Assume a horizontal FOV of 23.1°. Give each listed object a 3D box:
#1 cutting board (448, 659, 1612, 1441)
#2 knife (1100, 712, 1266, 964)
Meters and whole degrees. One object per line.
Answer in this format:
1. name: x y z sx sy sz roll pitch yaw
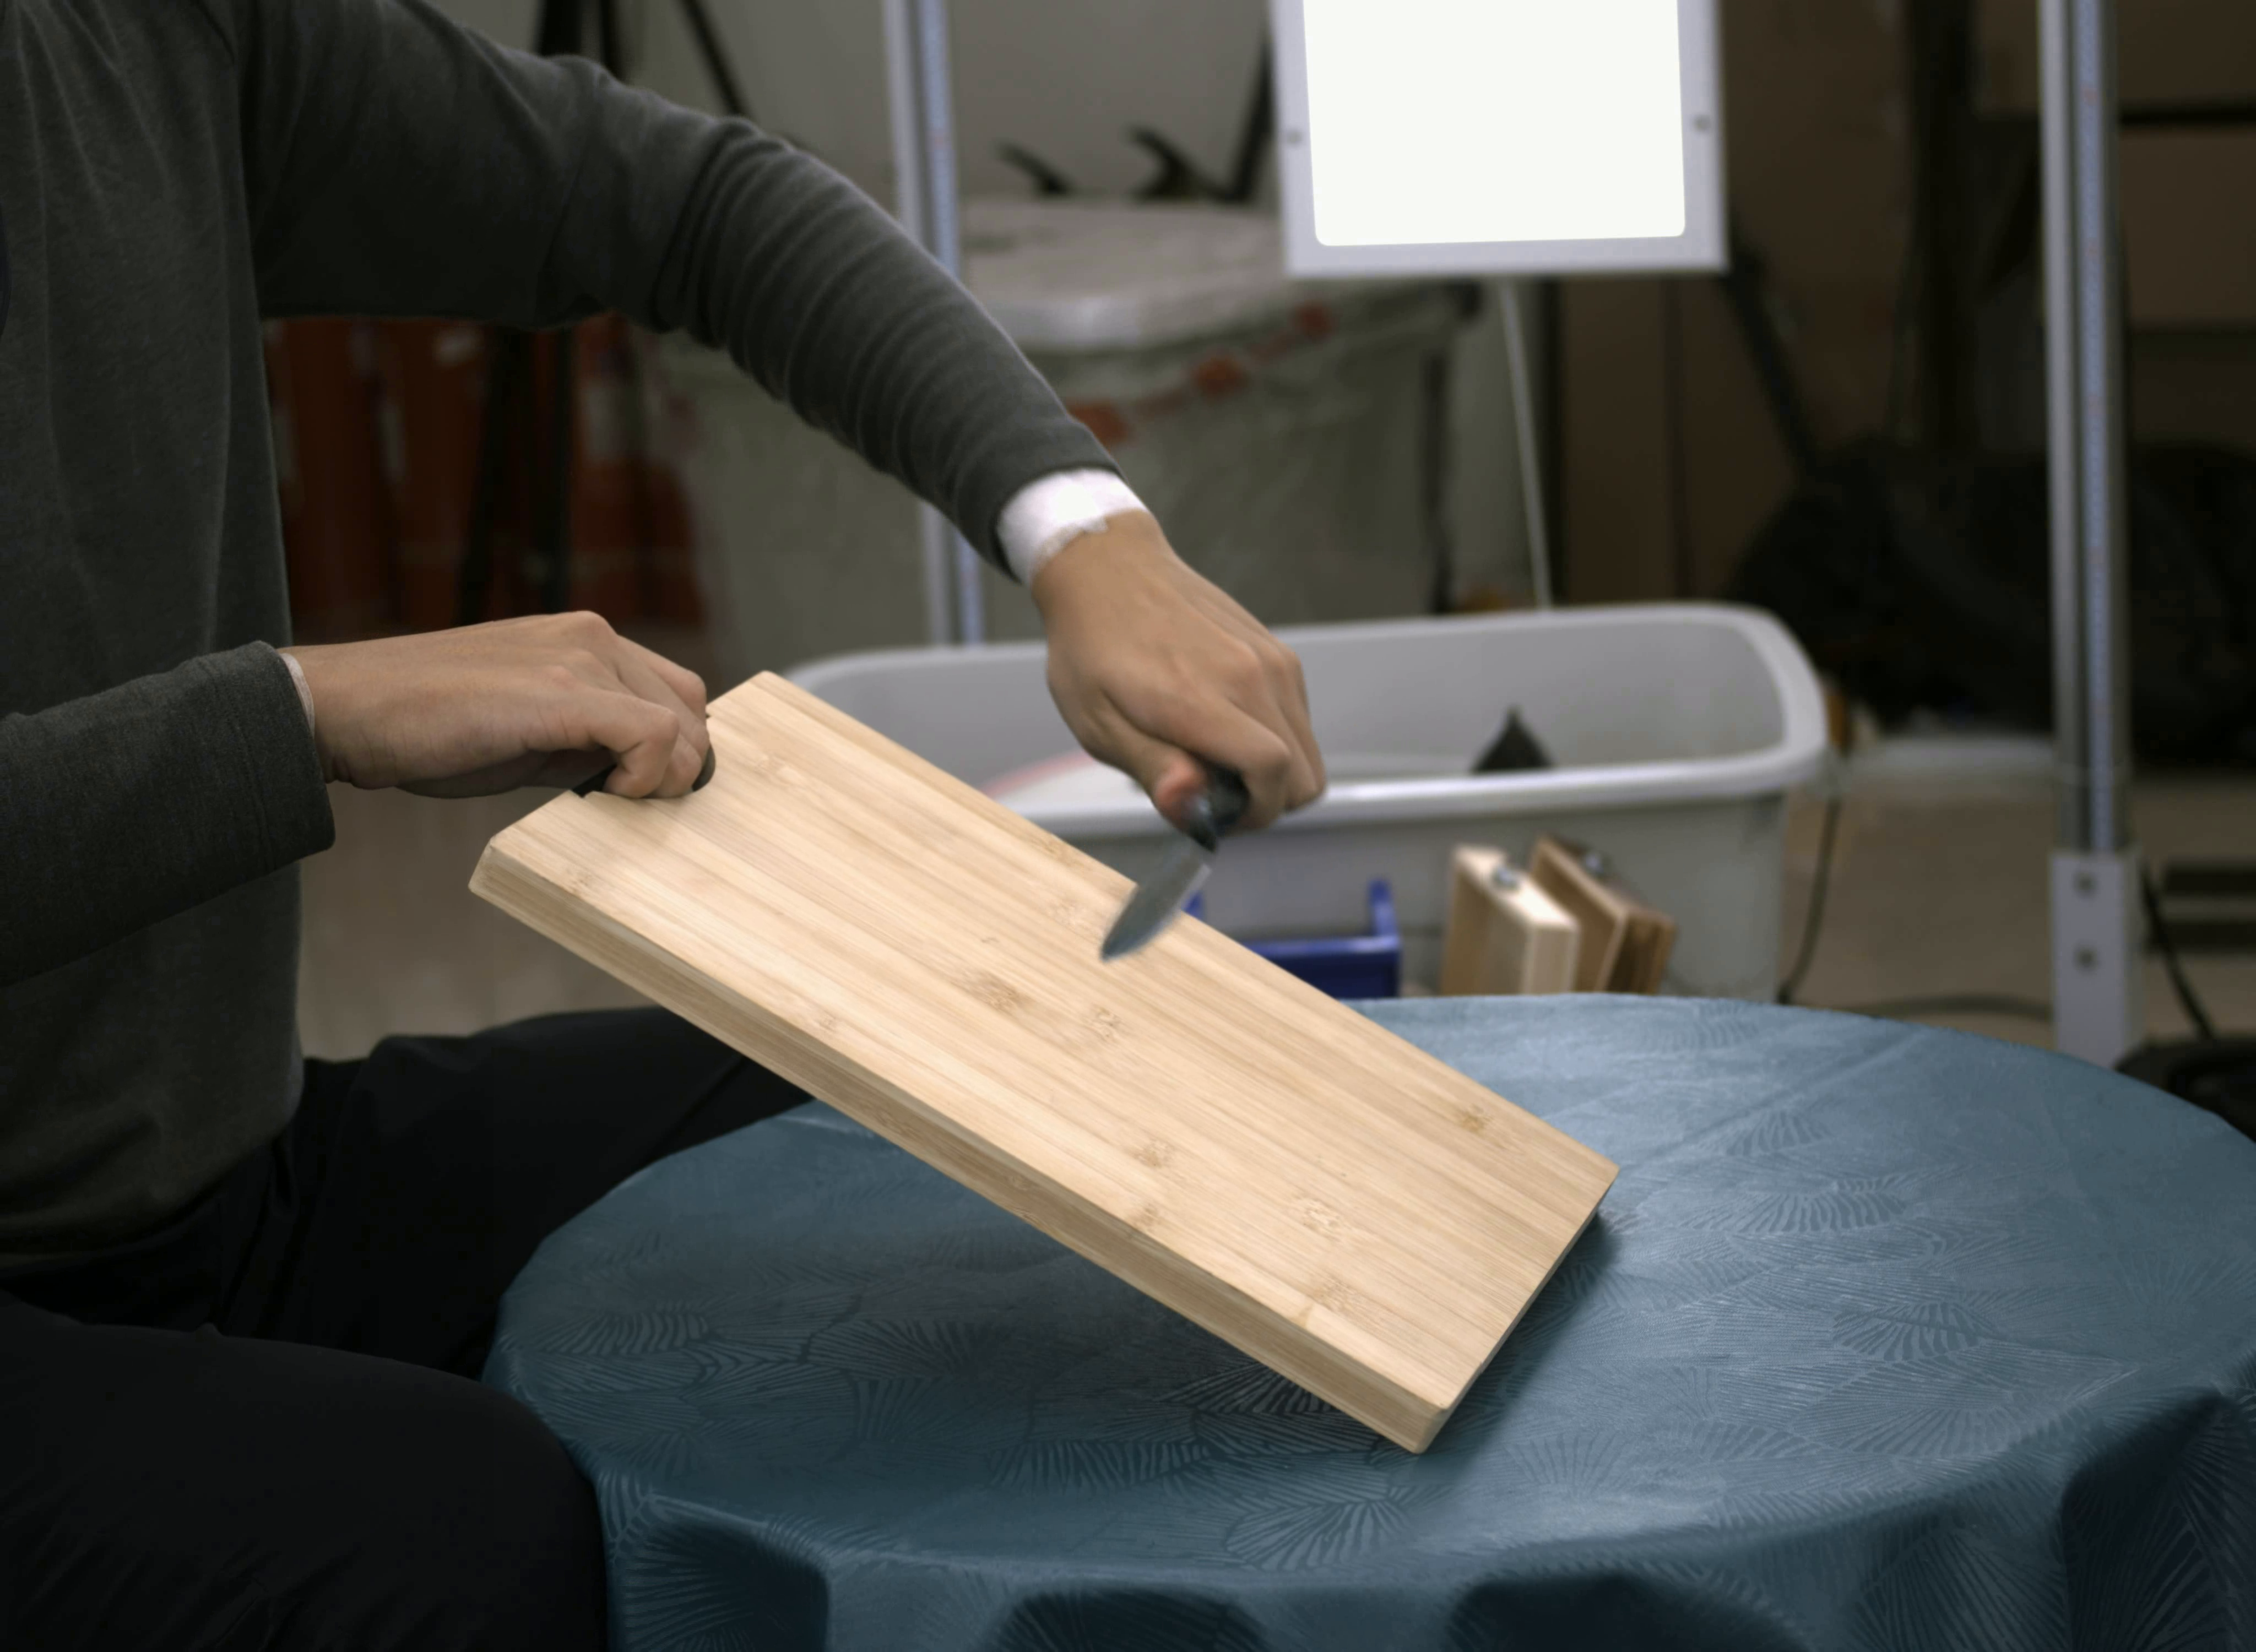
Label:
1. cutting board: -0.024 0.064 1.762 0.350 0.024 0.246 30 21 9
2. knife: 0.016 0.004 1.906 0.024 0.016 0.235 29 24 2
